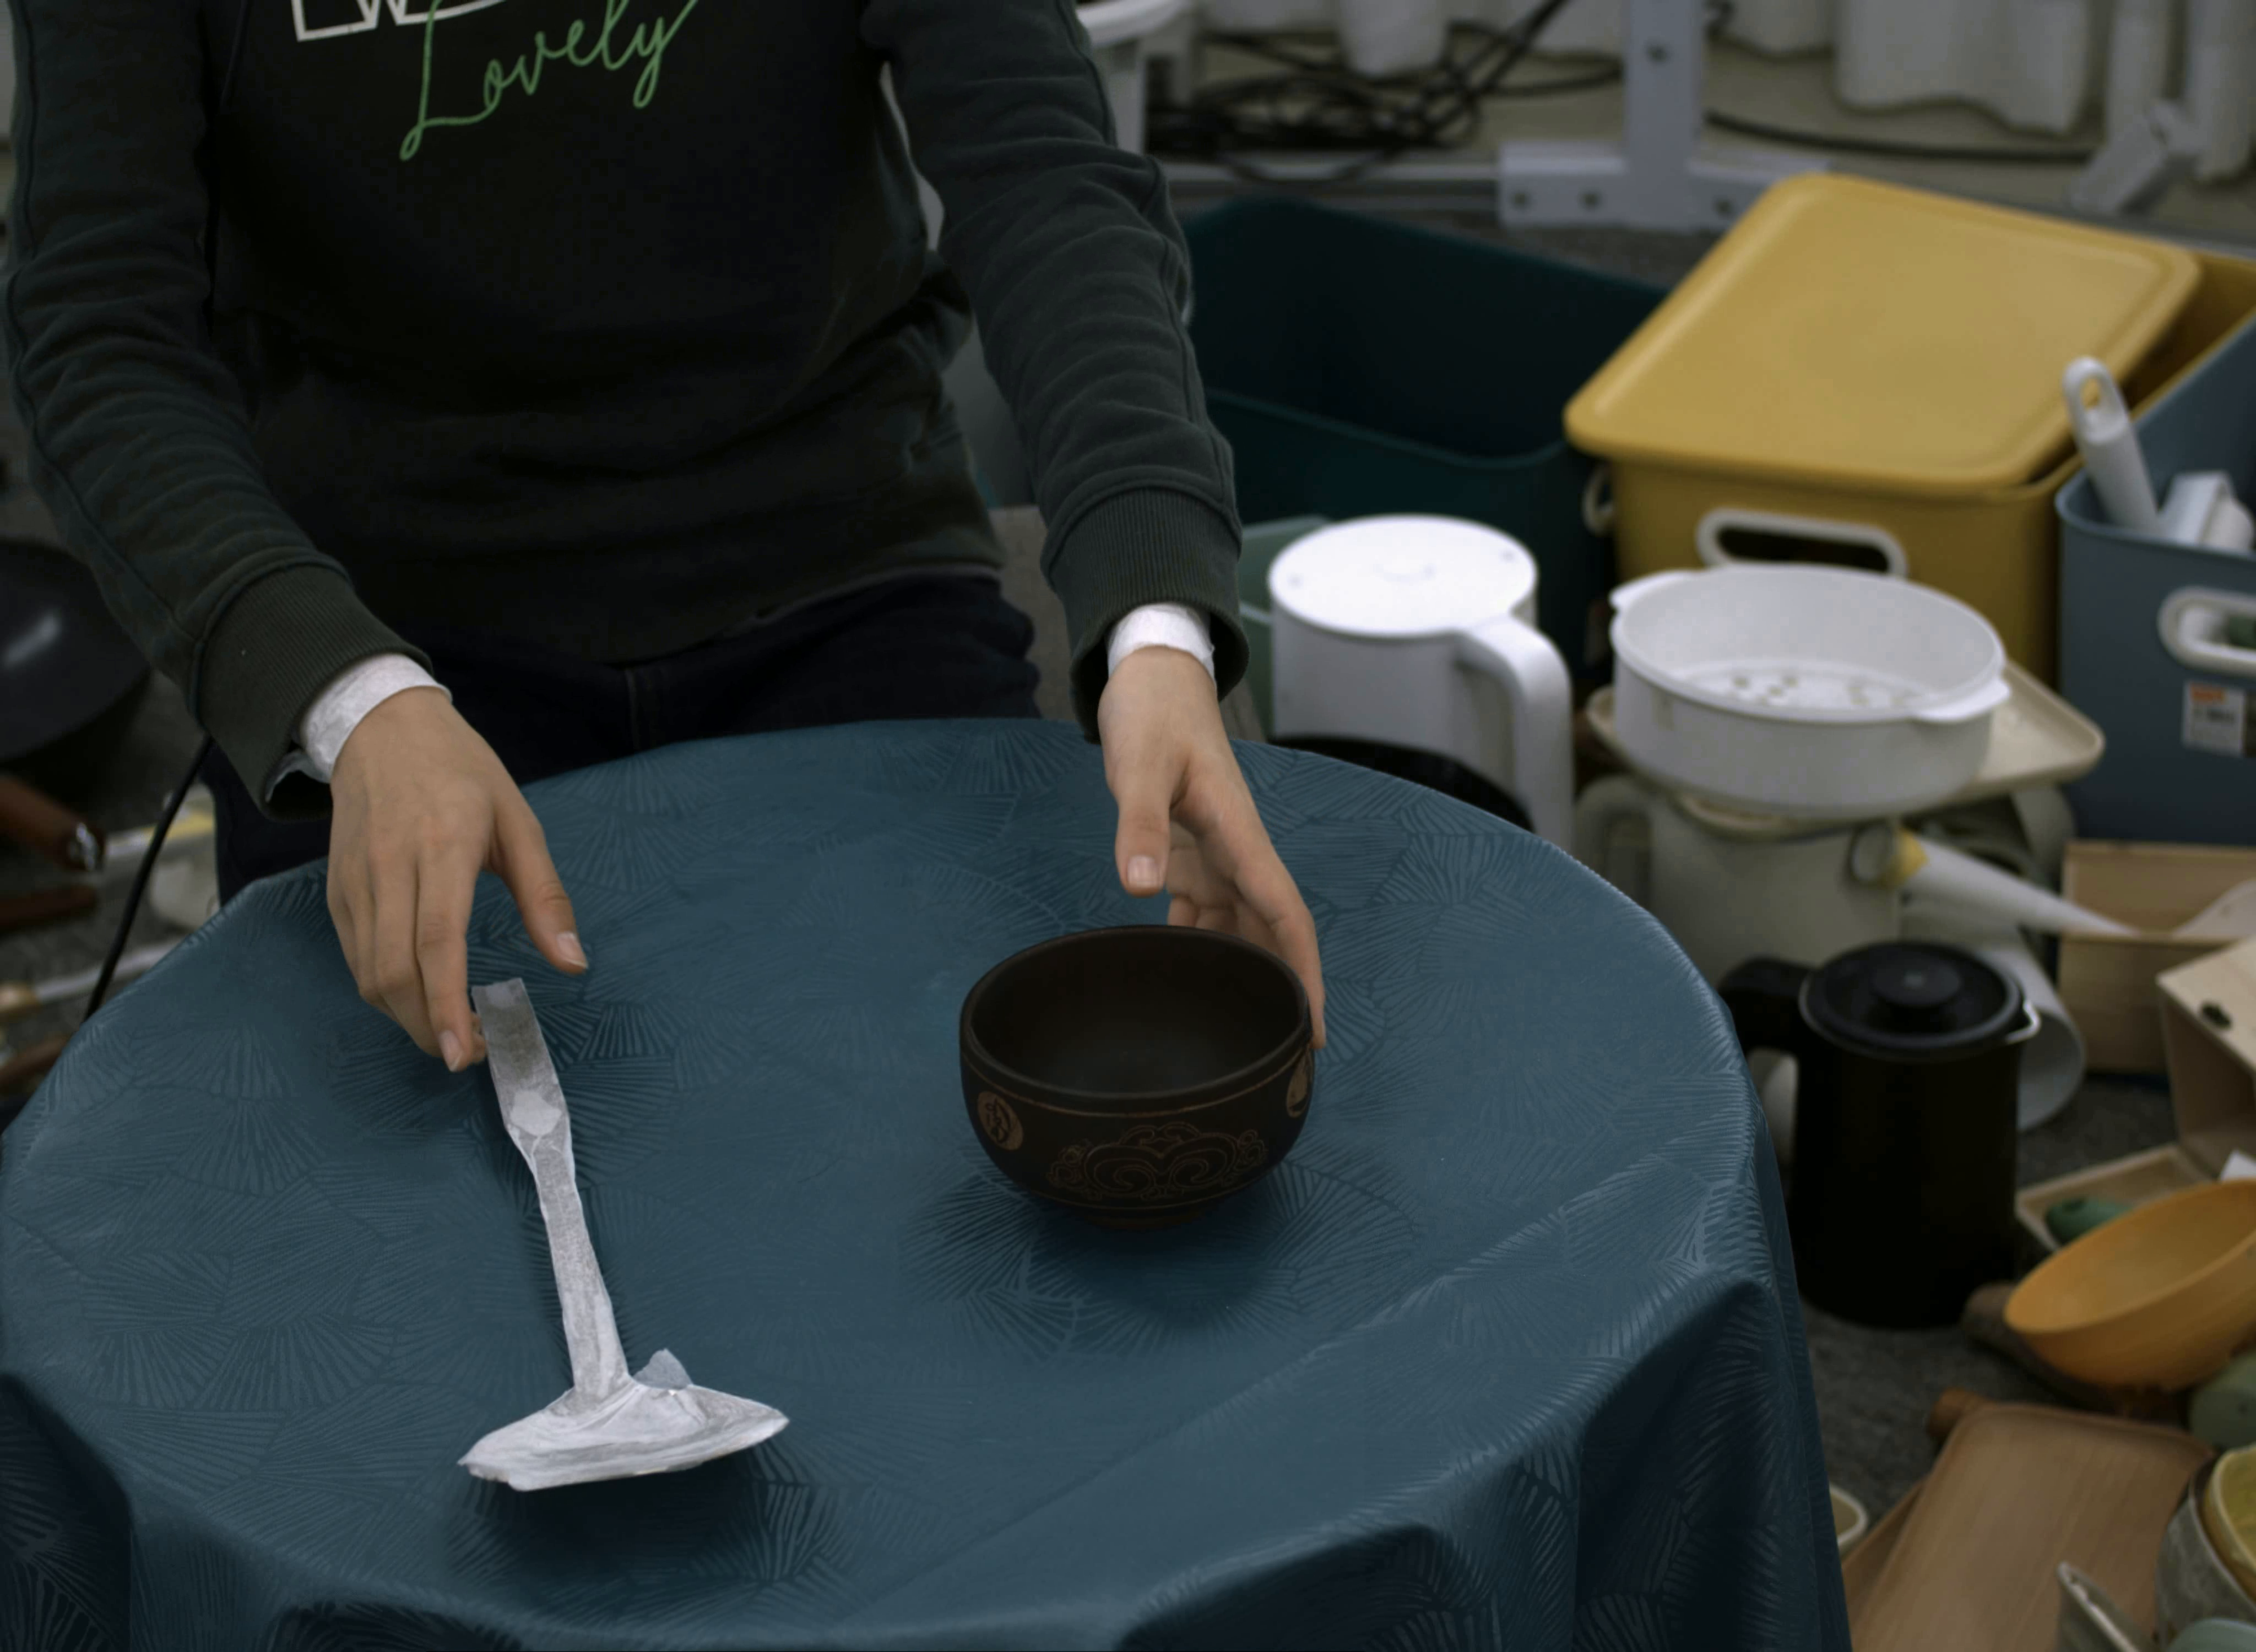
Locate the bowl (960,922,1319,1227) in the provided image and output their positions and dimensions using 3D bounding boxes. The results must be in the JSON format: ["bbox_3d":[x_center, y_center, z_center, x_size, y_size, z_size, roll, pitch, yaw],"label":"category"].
[{"bbox_3d":[0.004,0.088,1.848,0.117,0.069,0.120,-1,26,1],"label":"bowl"}]

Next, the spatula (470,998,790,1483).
[{"bbox_3d":[-0.179,0.127,1.828,0.098,0.044,0.369,-9,28,-8],"label":"spatula"}]
